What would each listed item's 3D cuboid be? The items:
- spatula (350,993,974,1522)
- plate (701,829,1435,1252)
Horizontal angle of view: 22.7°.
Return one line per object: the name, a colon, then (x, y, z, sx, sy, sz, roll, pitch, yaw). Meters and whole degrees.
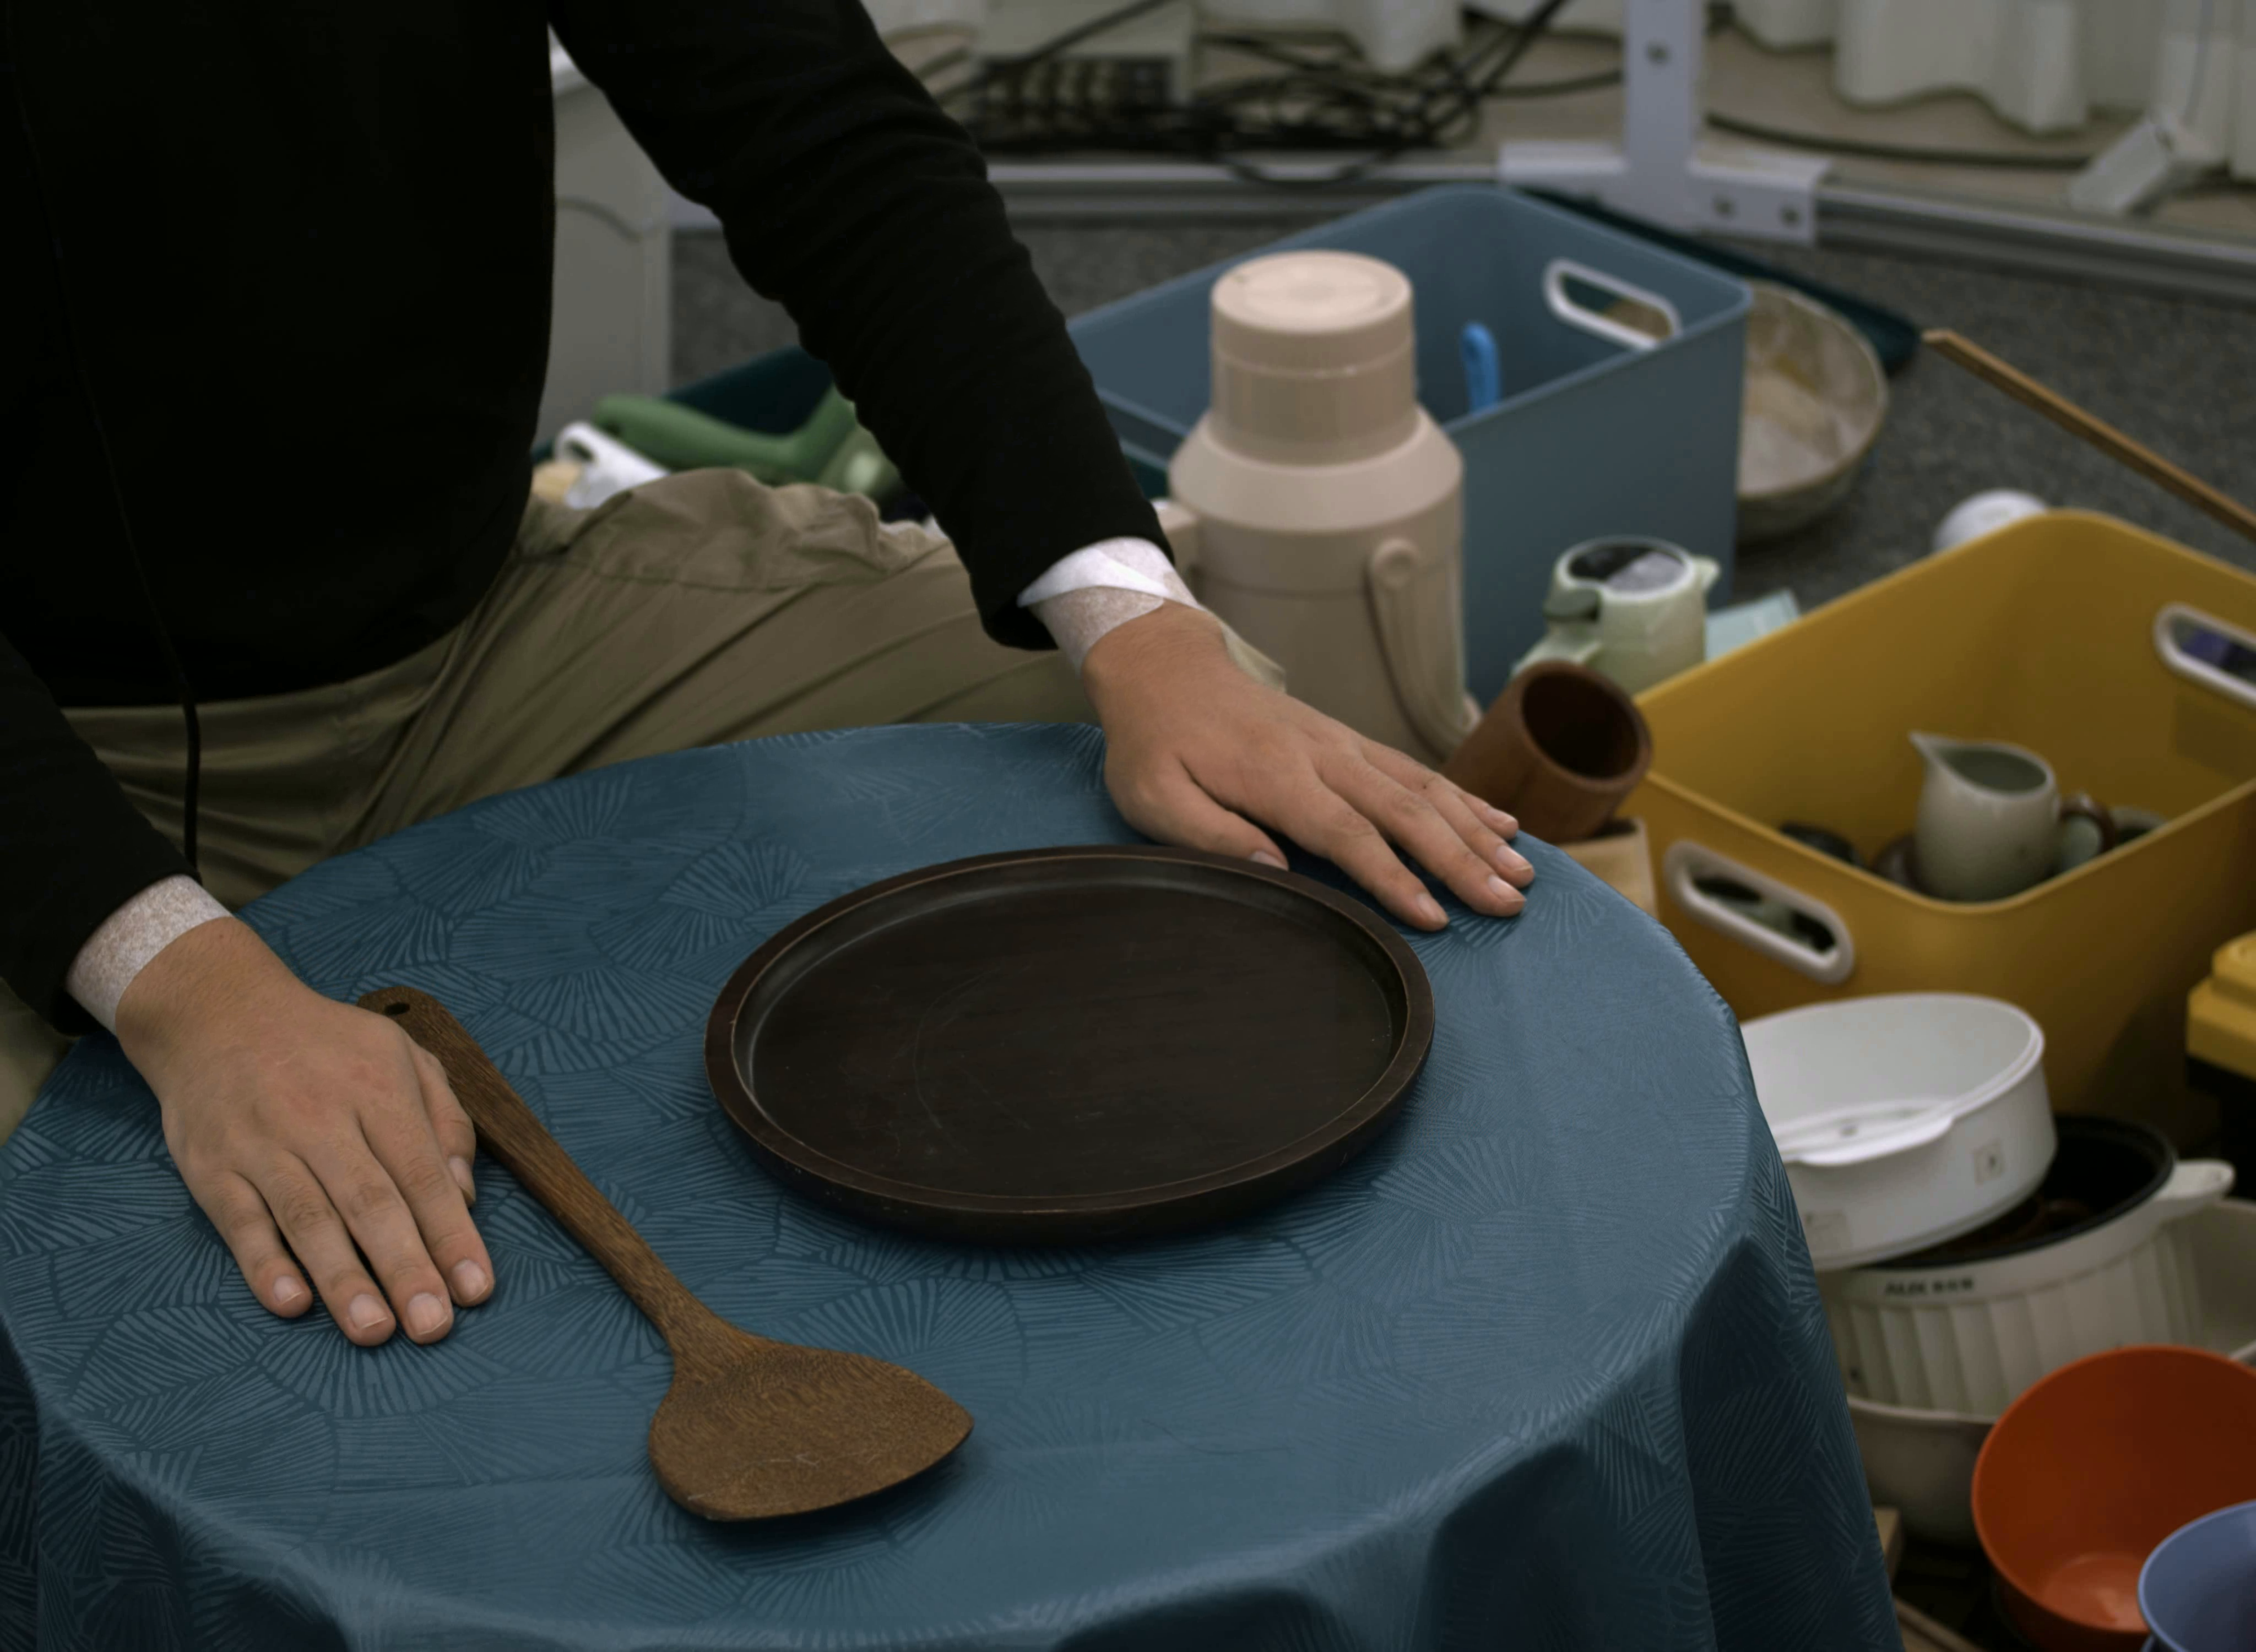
spatula: (-0.174, 0.132, 1.842, 0.096, 0.015, 0.387, -16, 30, -25)
plate: (-0.020, 0.075, 1.928, 0.253, 0.029, 0.259, -3, 28, 2)
